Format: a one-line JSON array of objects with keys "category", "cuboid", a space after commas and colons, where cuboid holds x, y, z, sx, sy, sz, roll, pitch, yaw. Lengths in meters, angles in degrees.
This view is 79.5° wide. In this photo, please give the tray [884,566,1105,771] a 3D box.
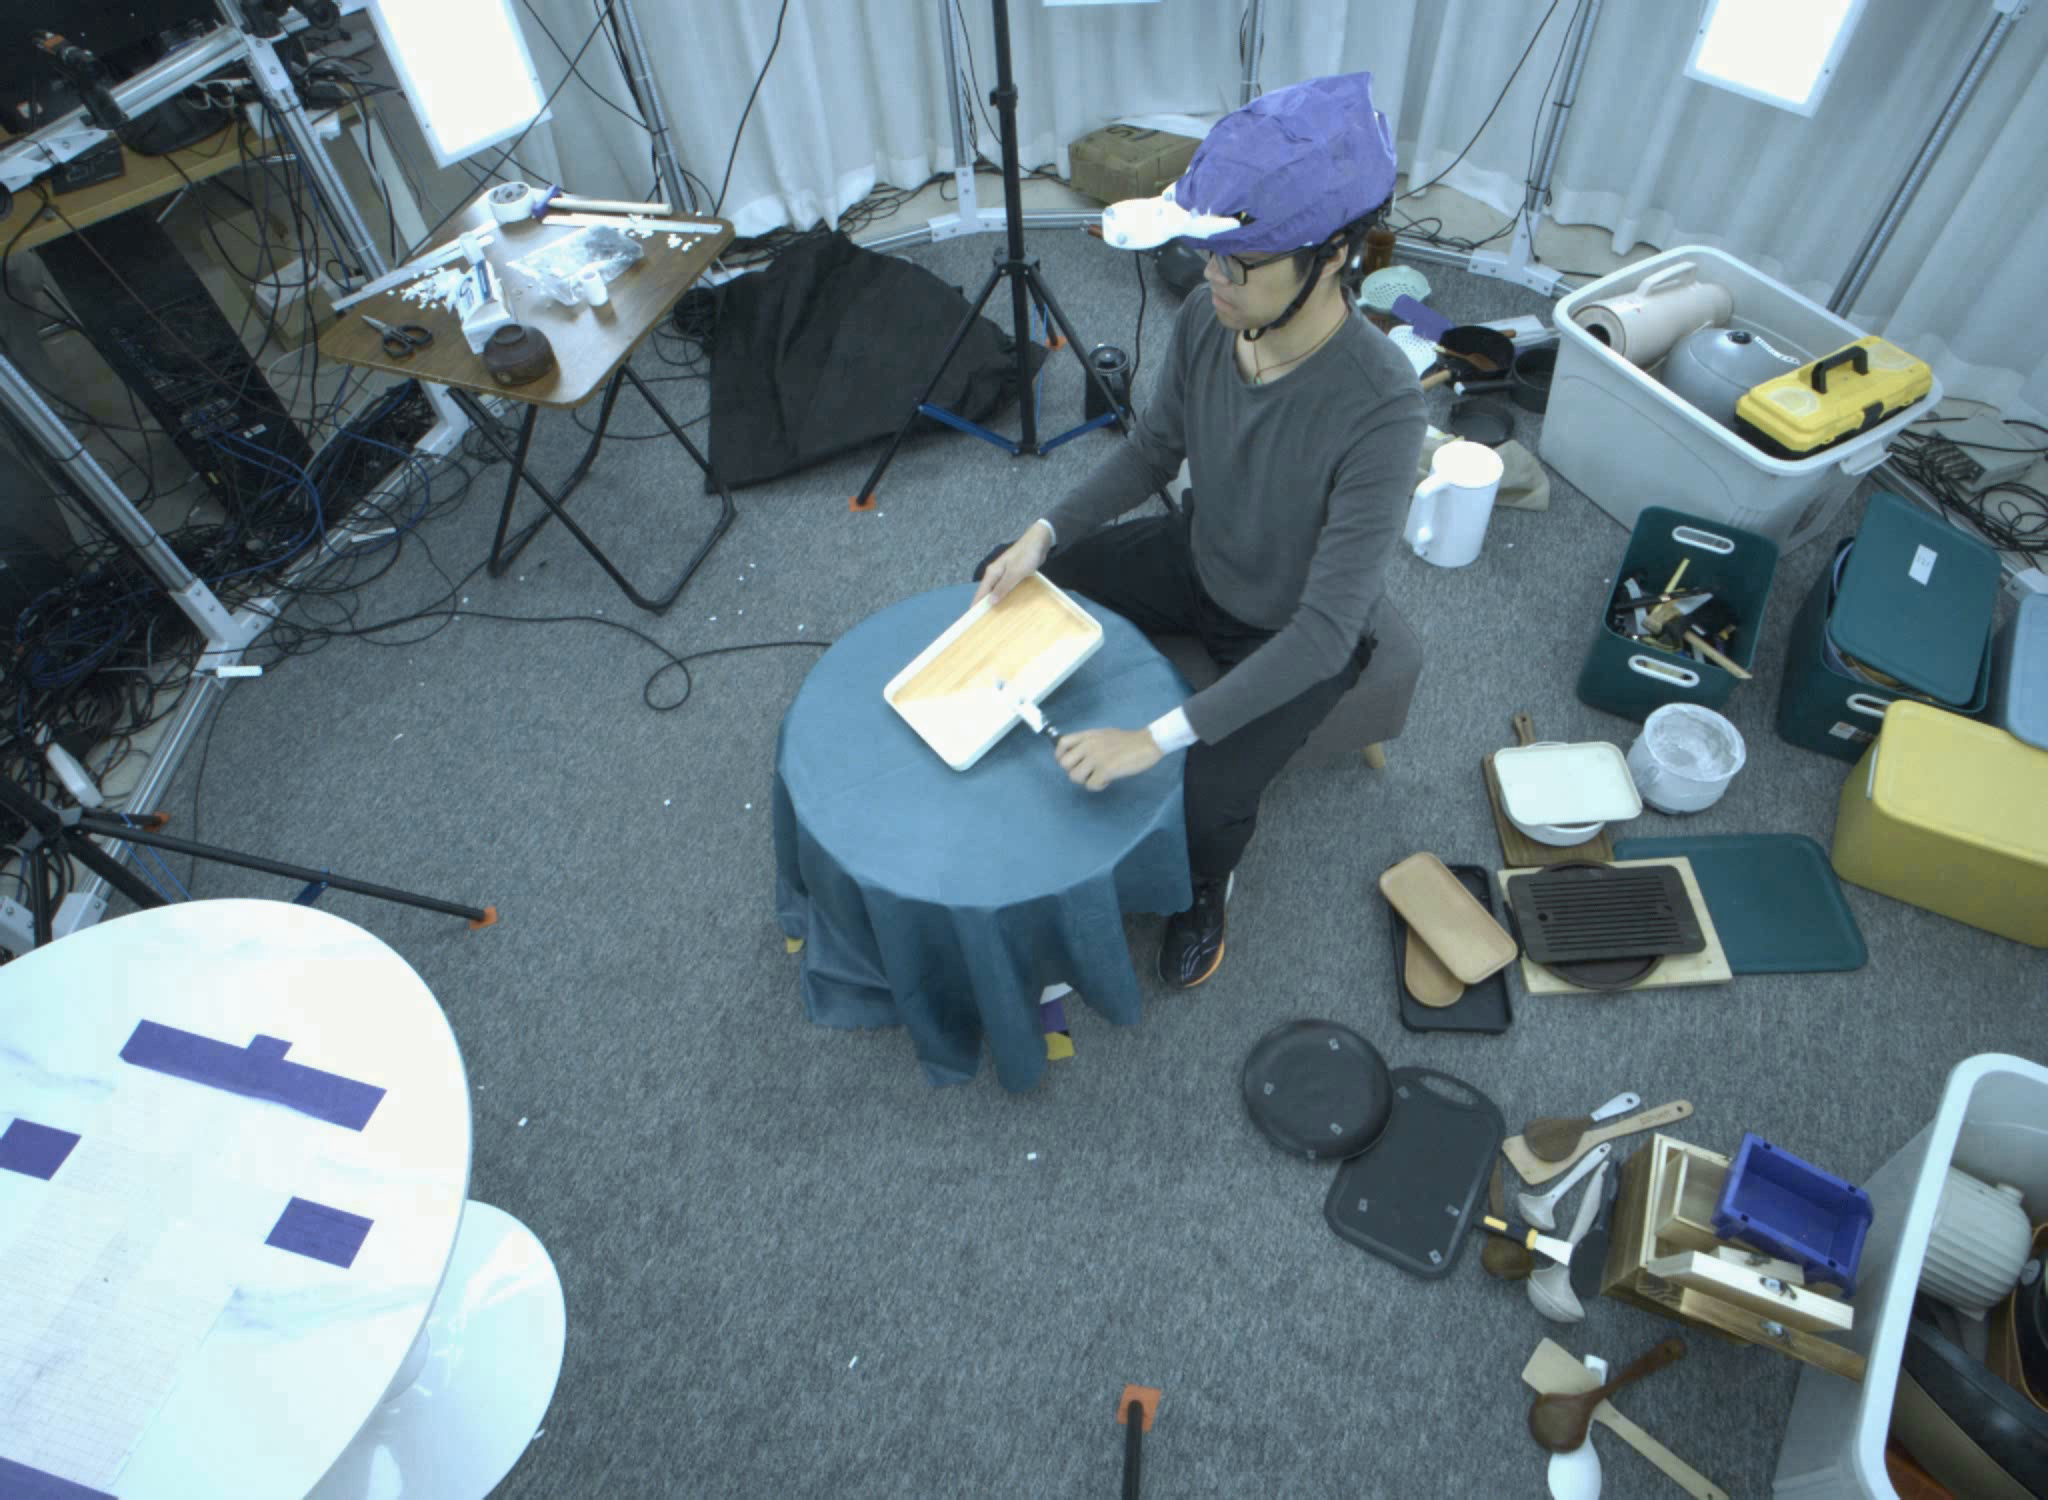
[{"category": "tray", "cuboid": [-0.045, -0.124, 1.821, 0.301, 0.028, 0.188, -42, 63, -7]}]

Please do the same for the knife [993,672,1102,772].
[{"category": "knife", "cuboid": [0.031, -0.046, 1.747, 0.024, 0.016, 0.233, -42, 61, -8]}]
